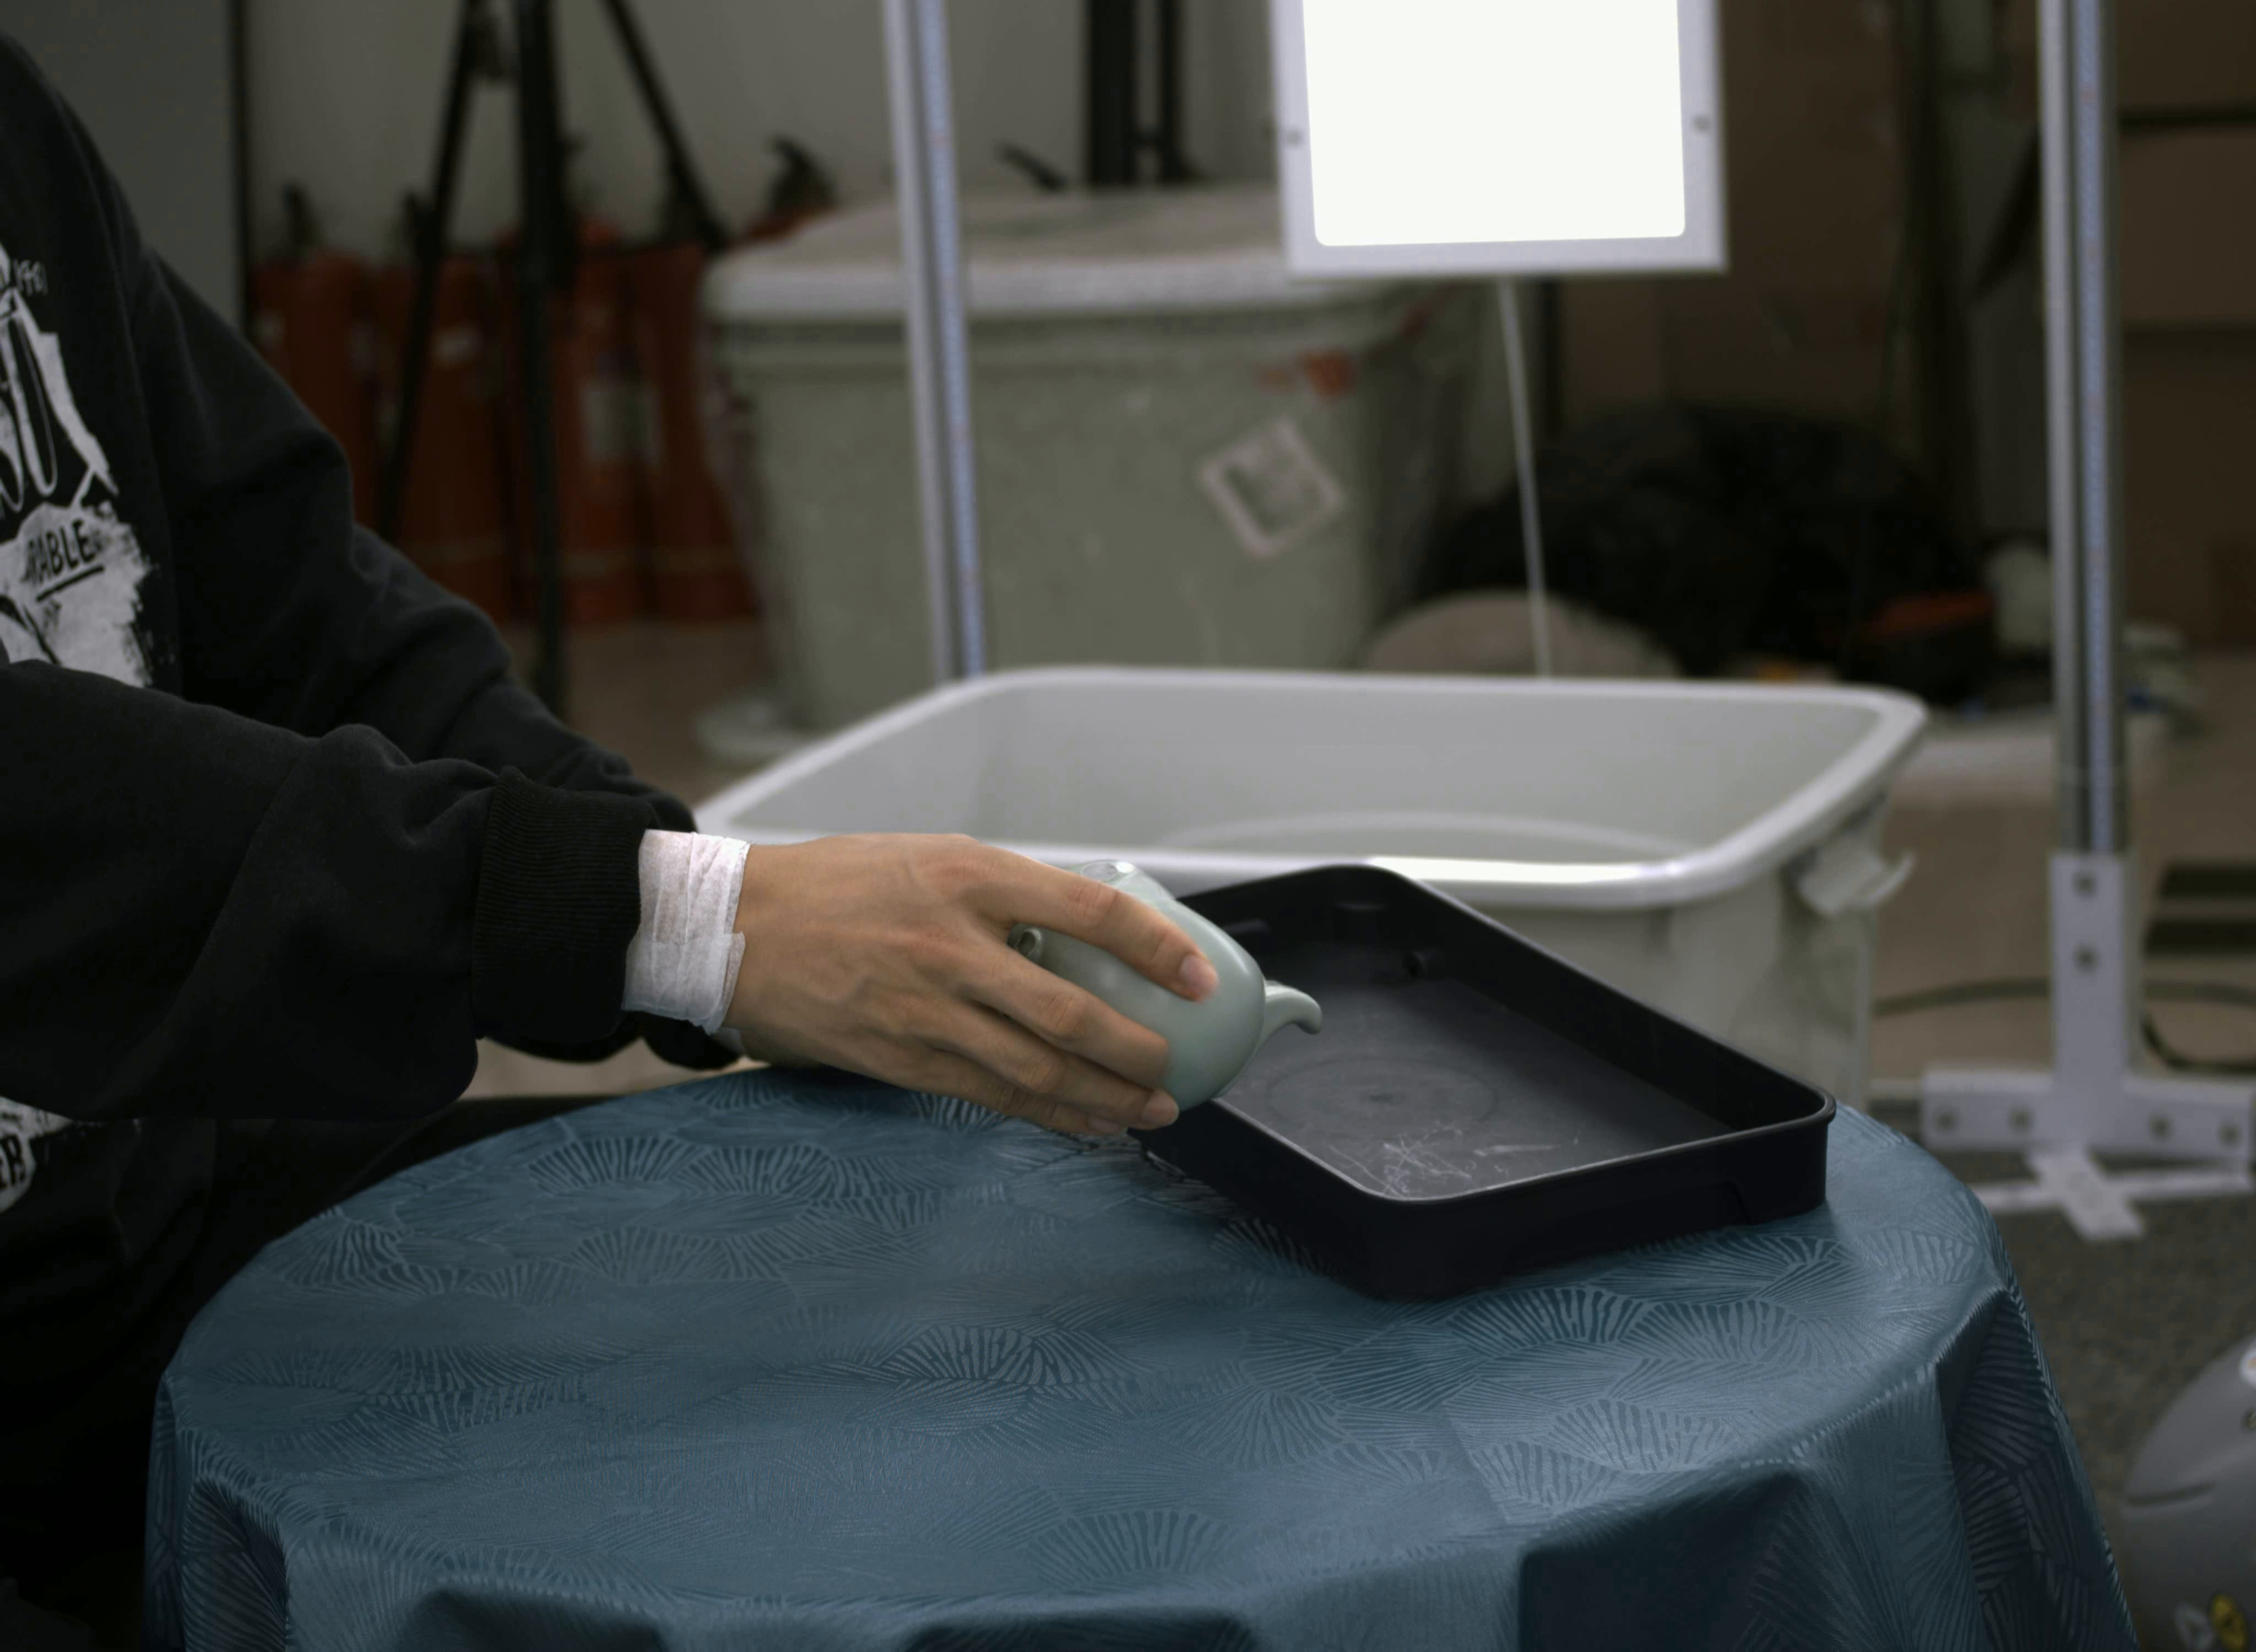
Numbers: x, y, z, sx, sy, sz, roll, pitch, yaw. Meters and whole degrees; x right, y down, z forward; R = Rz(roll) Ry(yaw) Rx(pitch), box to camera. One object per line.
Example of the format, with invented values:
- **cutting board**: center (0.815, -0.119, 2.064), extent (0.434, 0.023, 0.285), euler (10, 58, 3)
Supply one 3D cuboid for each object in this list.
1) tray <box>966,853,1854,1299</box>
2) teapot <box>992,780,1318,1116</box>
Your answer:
- **tray**: center (0.091, 0.081, 1.905), extent (0.180, 0.037, 0.323), euler (-10, 21, -28)
- **teapot**: center (0.000, 0.051, 1.771), extent (0.074, 0.142, 0.090), euler (-51, 34, -6)
